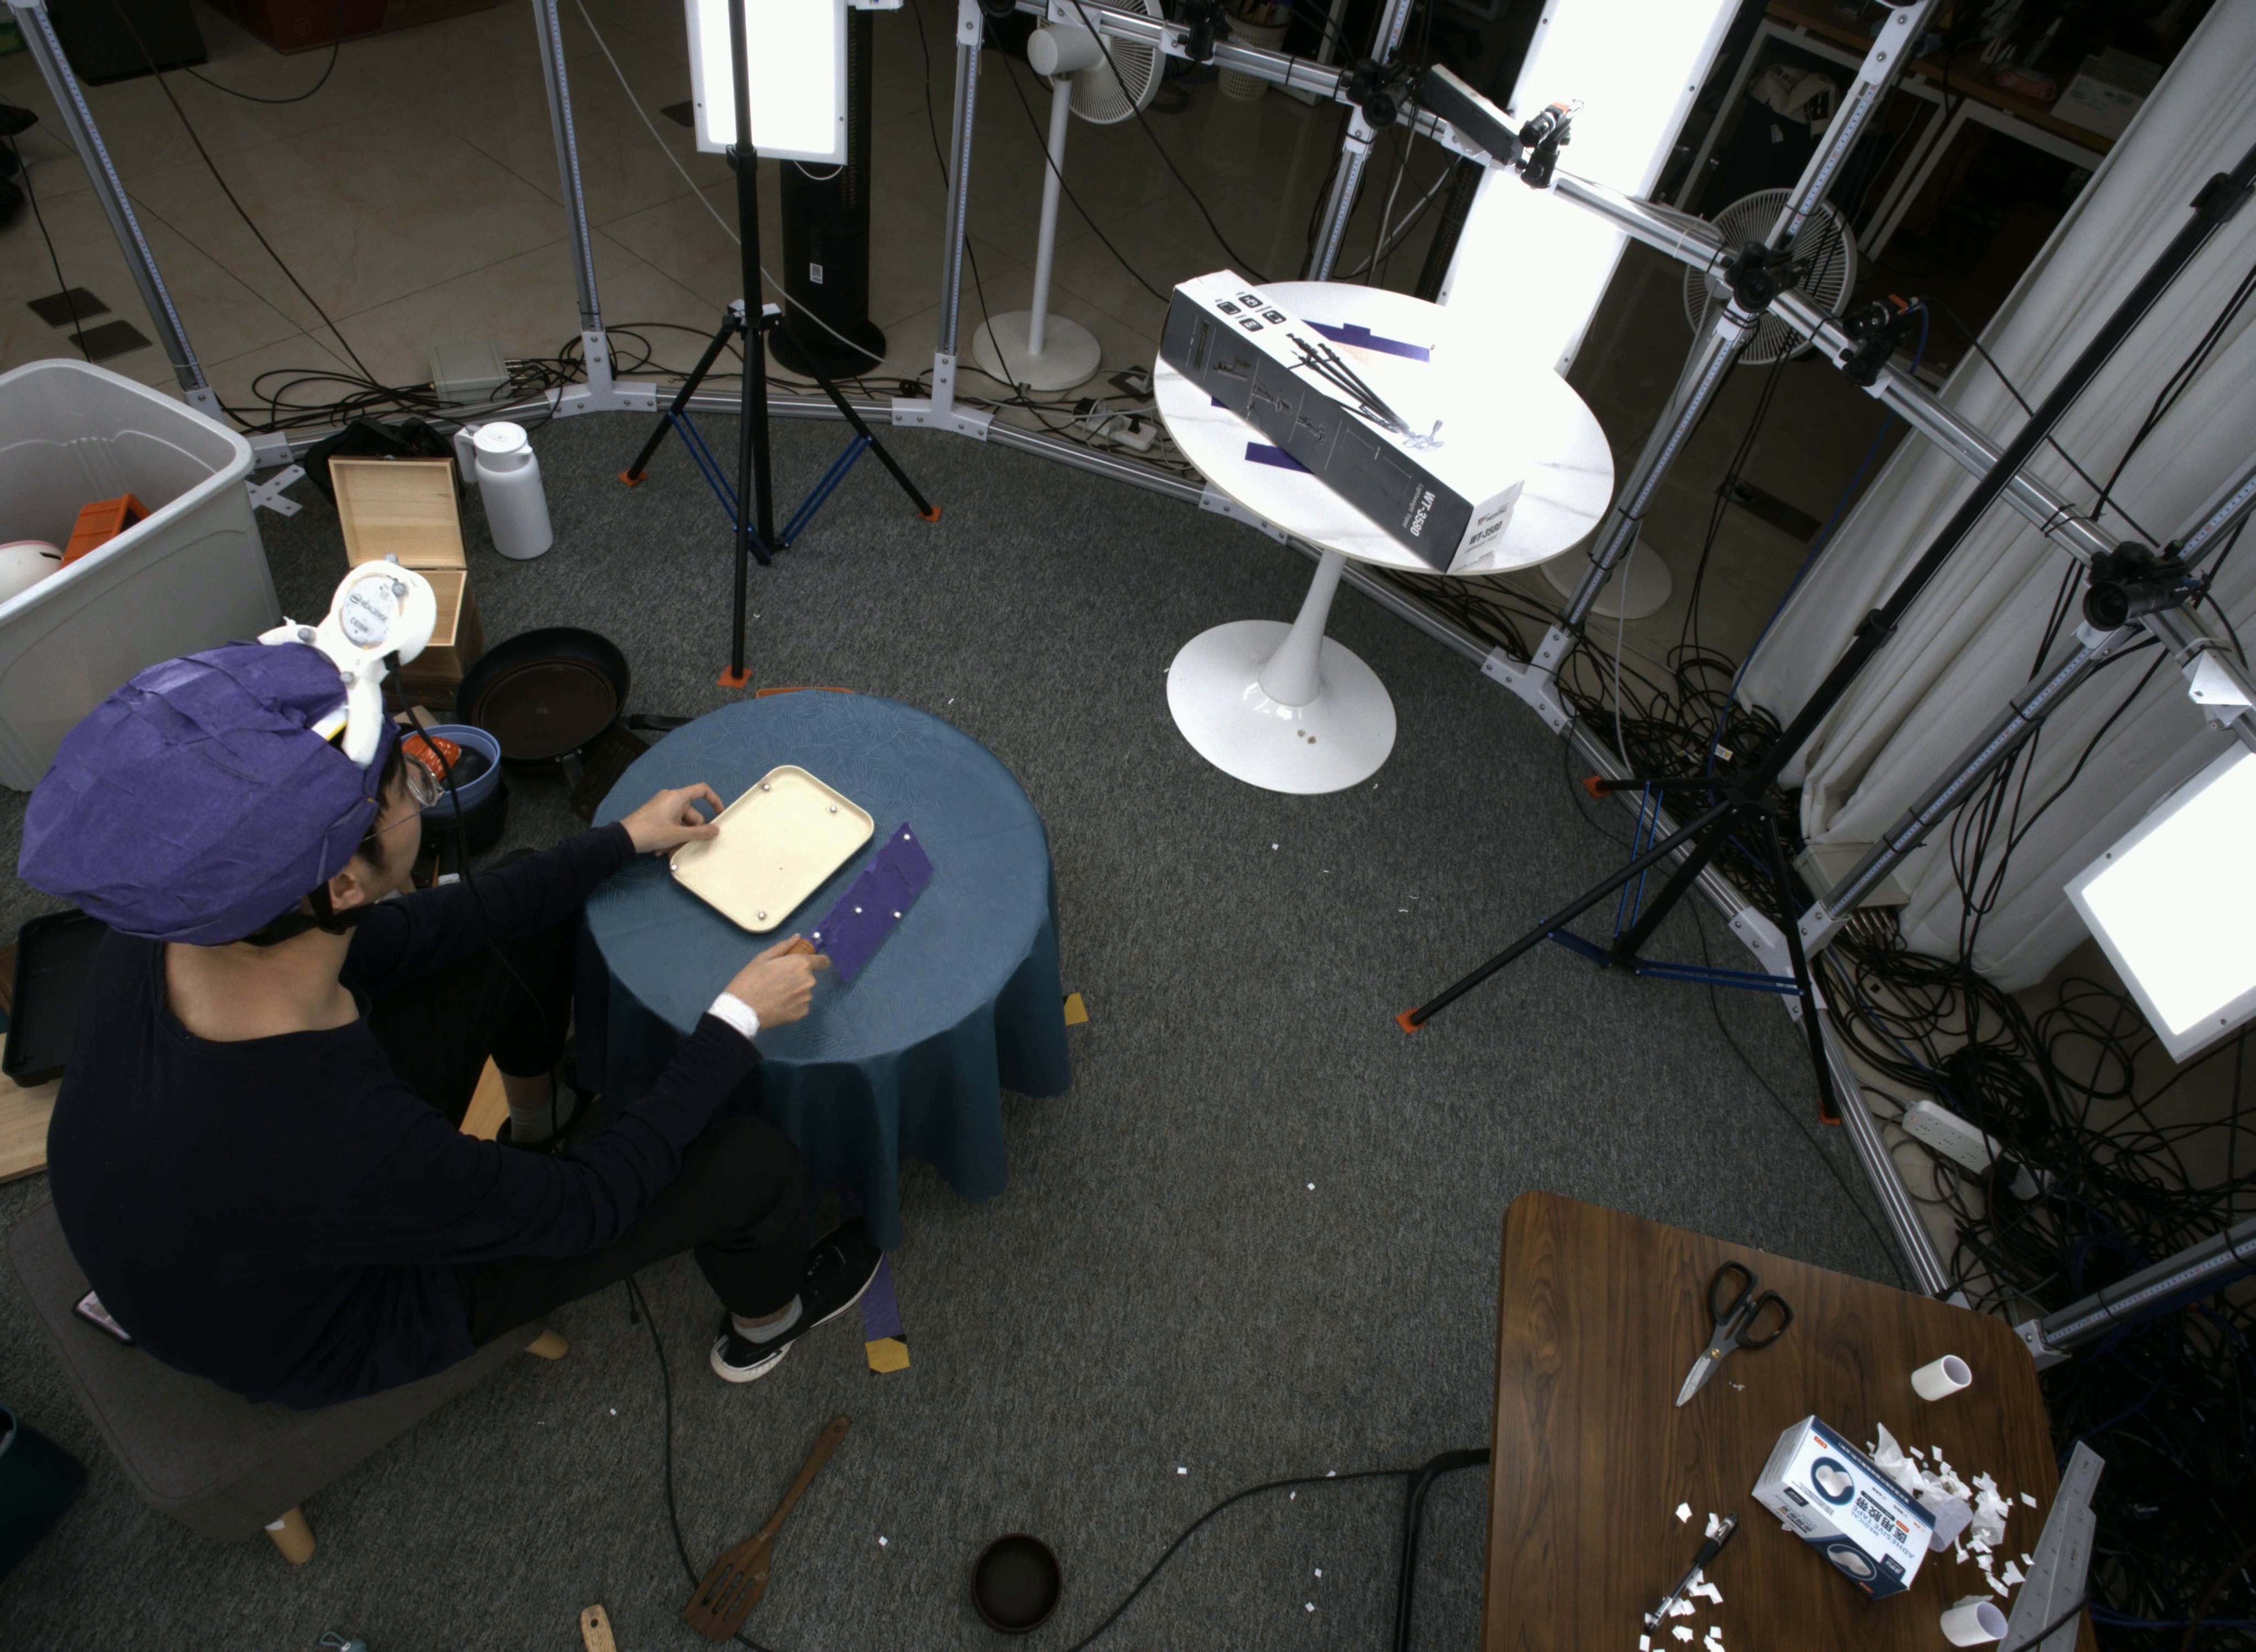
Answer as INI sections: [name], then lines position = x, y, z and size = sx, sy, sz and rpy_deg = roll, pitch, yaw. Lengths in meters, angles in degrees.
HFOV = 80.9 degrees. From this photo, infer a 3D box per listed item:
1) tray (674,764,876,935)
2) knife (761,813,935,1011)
[tray]
position = -0.458, 0.027, 1.691
size = 0.169, 0.018, 0.239
rpy_deg = 35, 53, 8
[knife]
position = -0.331, 0.122, 1.599
size = 0.031, 0.108, 0.314
rpy_deg = 2, 43, 35
